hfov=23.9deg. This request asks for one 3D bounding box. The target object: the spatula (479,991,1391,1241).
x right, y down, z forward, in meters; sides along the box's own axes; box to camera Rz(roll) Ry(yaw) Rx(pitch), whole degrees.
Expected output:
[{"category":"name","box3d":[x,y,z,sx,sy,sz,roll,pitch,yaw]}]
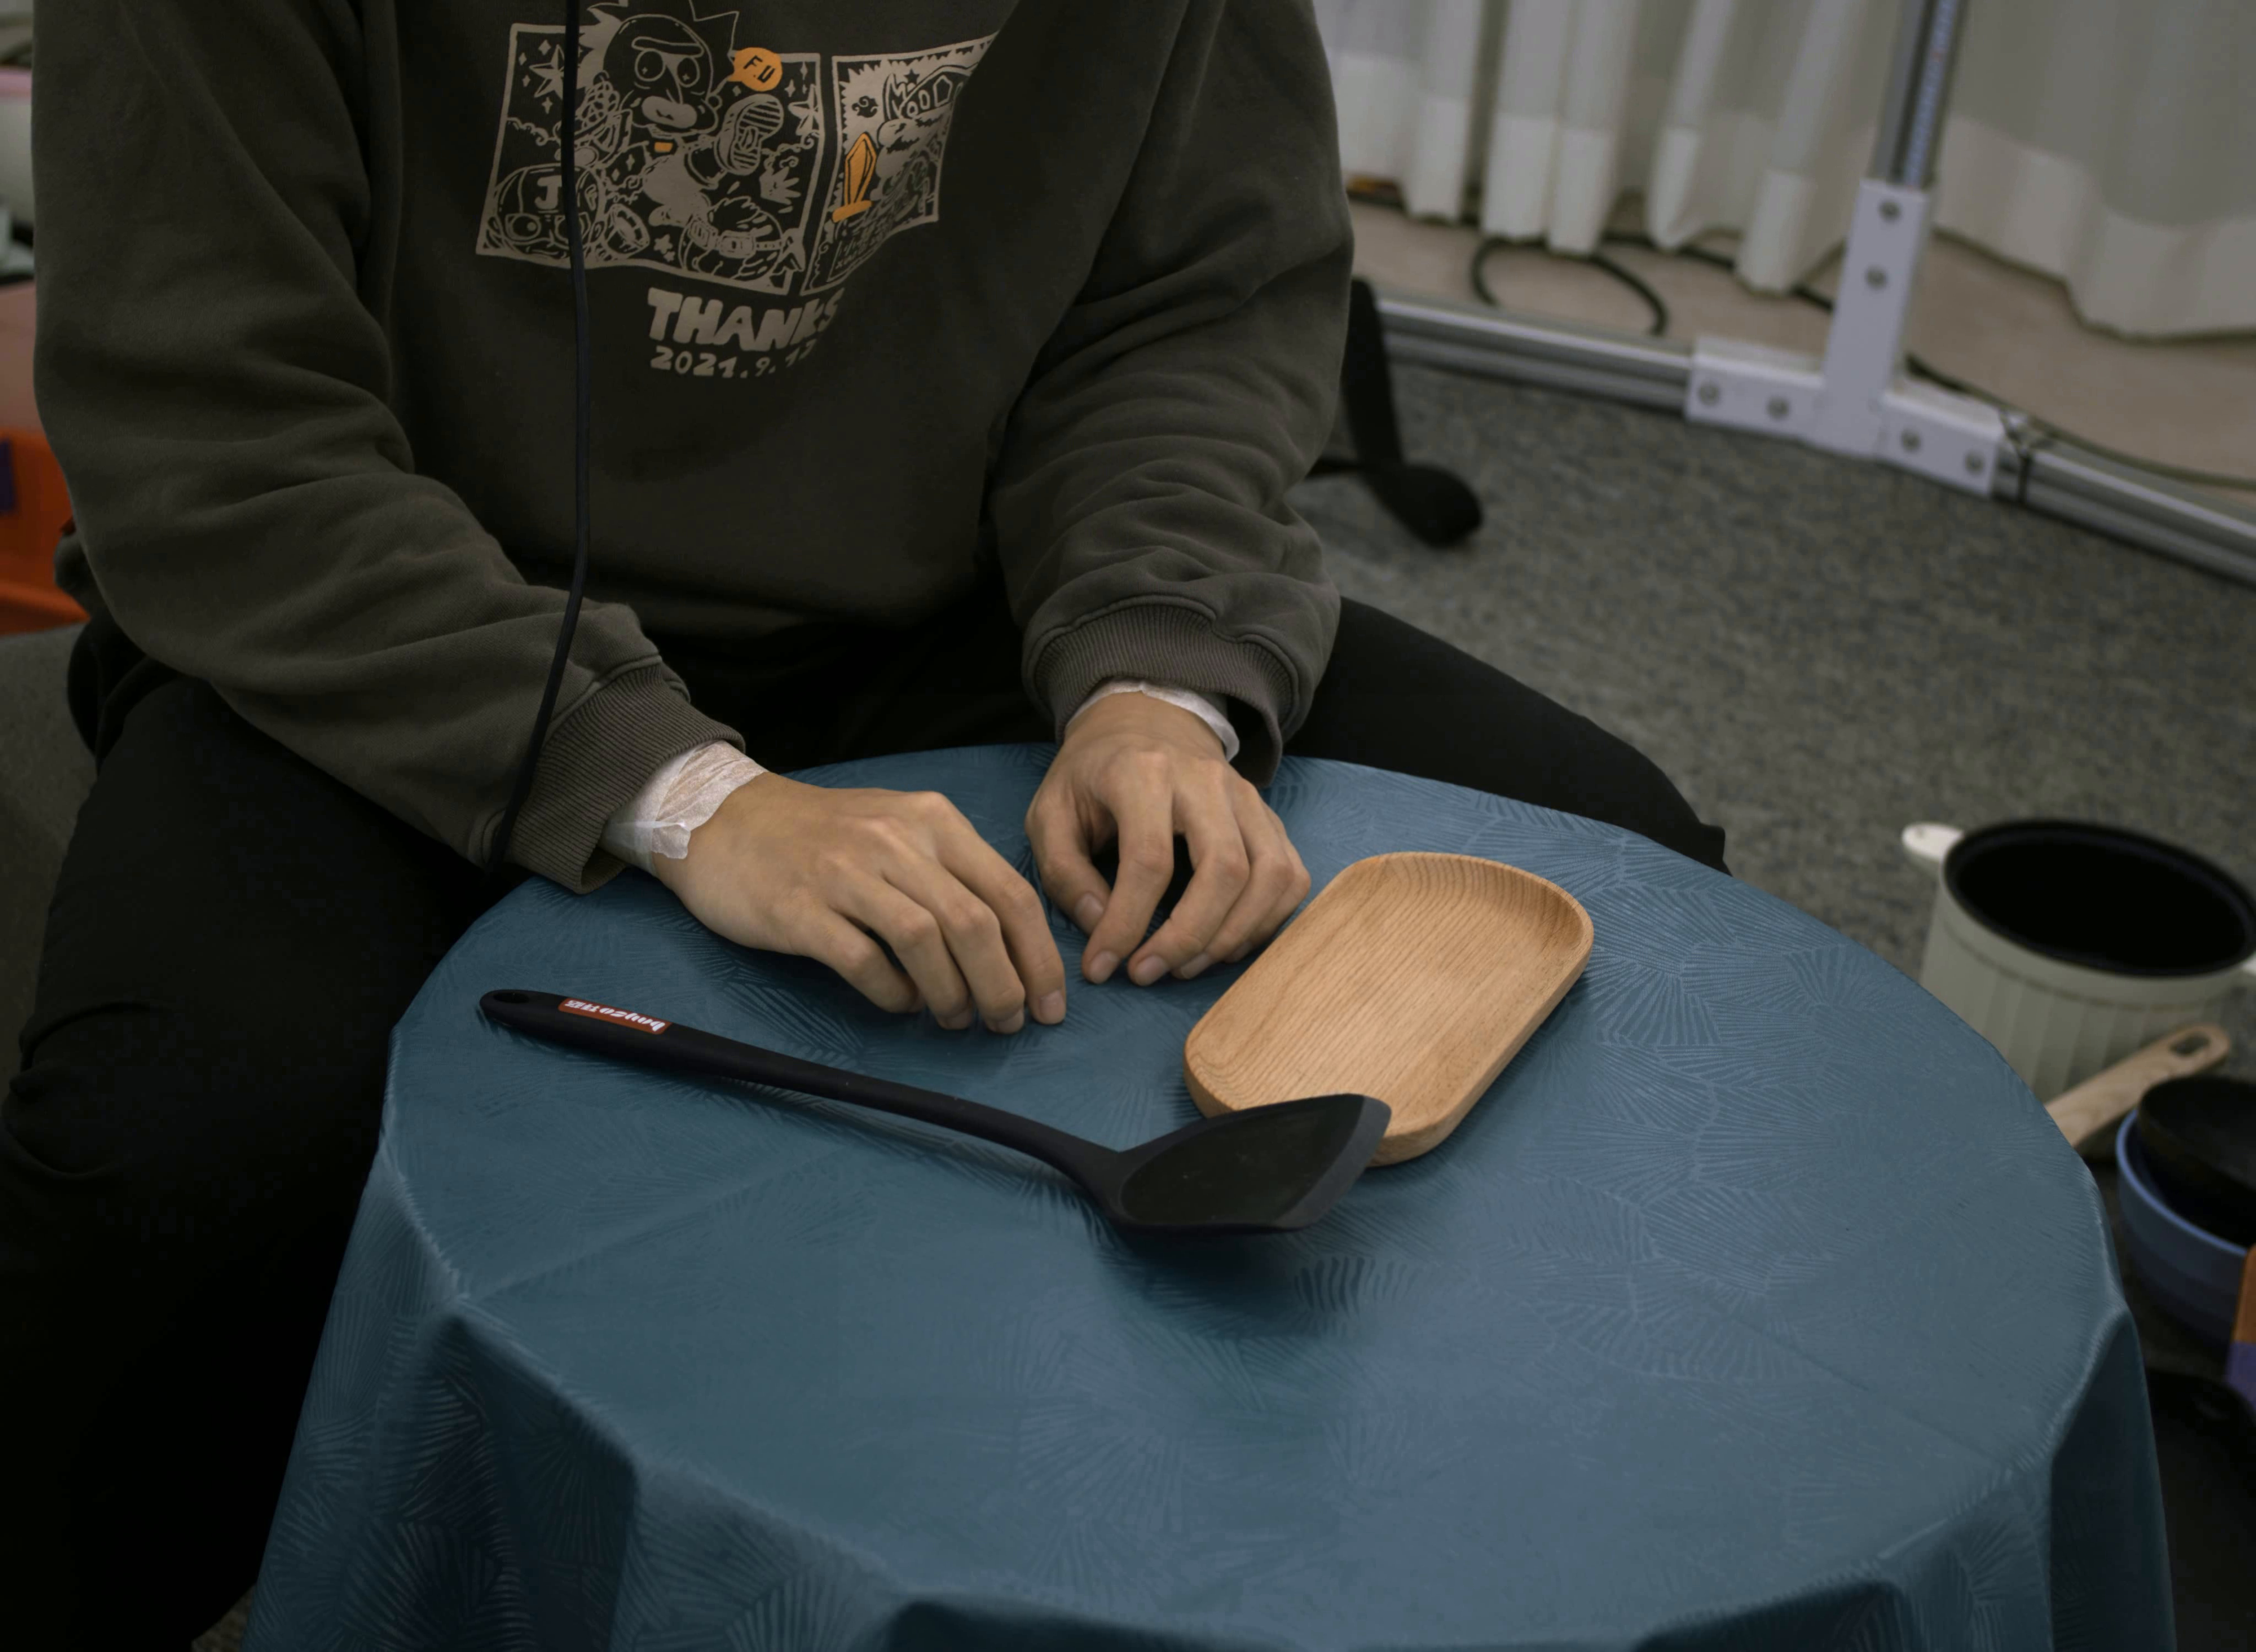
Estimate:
[{"category":"spatula","box3d":[-0.074,0.089,1.815,0.327,0.040,0.100,15,26,16]}]

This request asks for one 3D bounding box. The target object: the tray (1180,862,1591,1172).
[{"category":"tray","box3d":[0.095,0.067,1.920,0.102,0.020,0.231,16,29,19]}]
